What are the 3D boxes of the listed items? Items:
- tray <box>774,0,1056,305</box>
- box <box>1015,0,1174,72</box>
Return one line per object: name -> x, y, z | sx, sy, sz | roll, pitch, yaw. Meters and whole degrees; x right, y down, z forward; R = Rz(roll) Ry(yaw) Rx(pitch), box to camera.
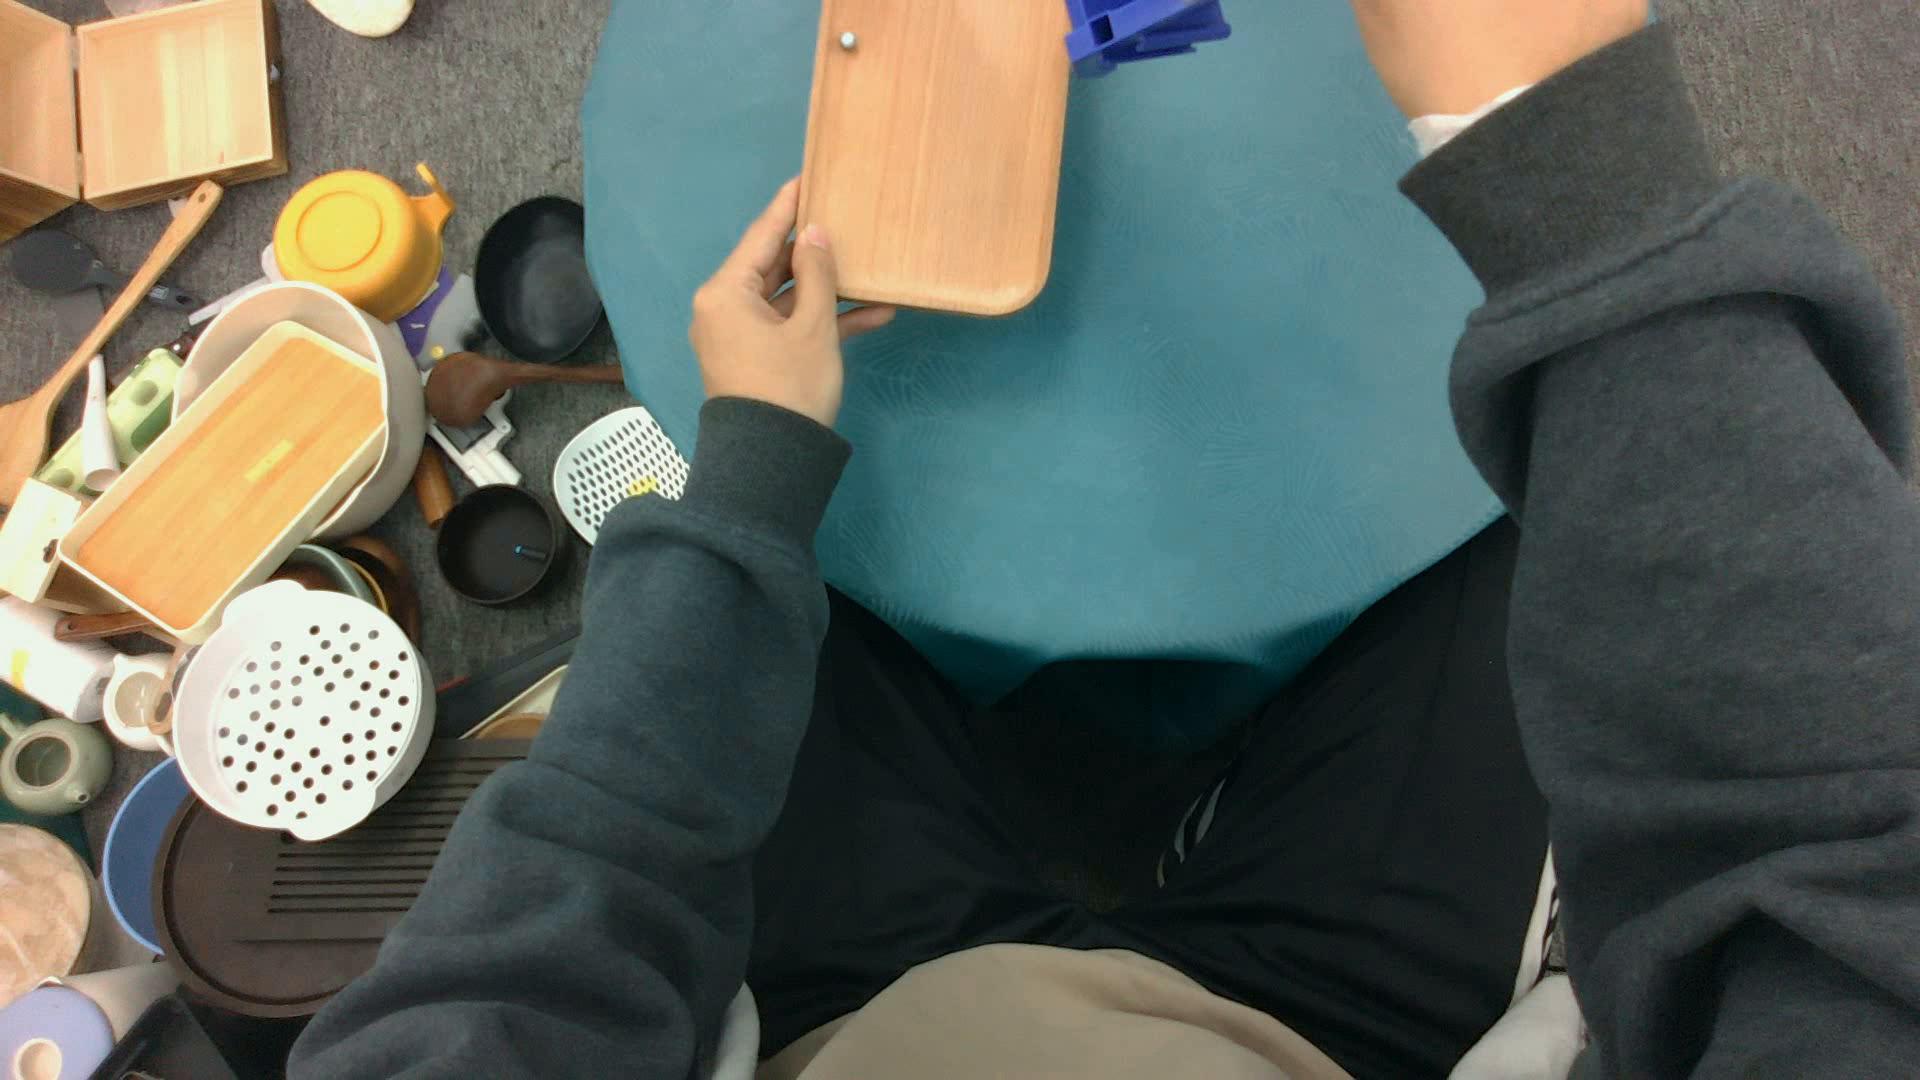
tray -> -0.019, -0.241, 0.698 | 0.130, 0.023, 0.251 | 6, 80, -1
box -> 0.076, -0.260, 0.520 | 0.179, 0.082, 0.124 | -7, 106, 40
